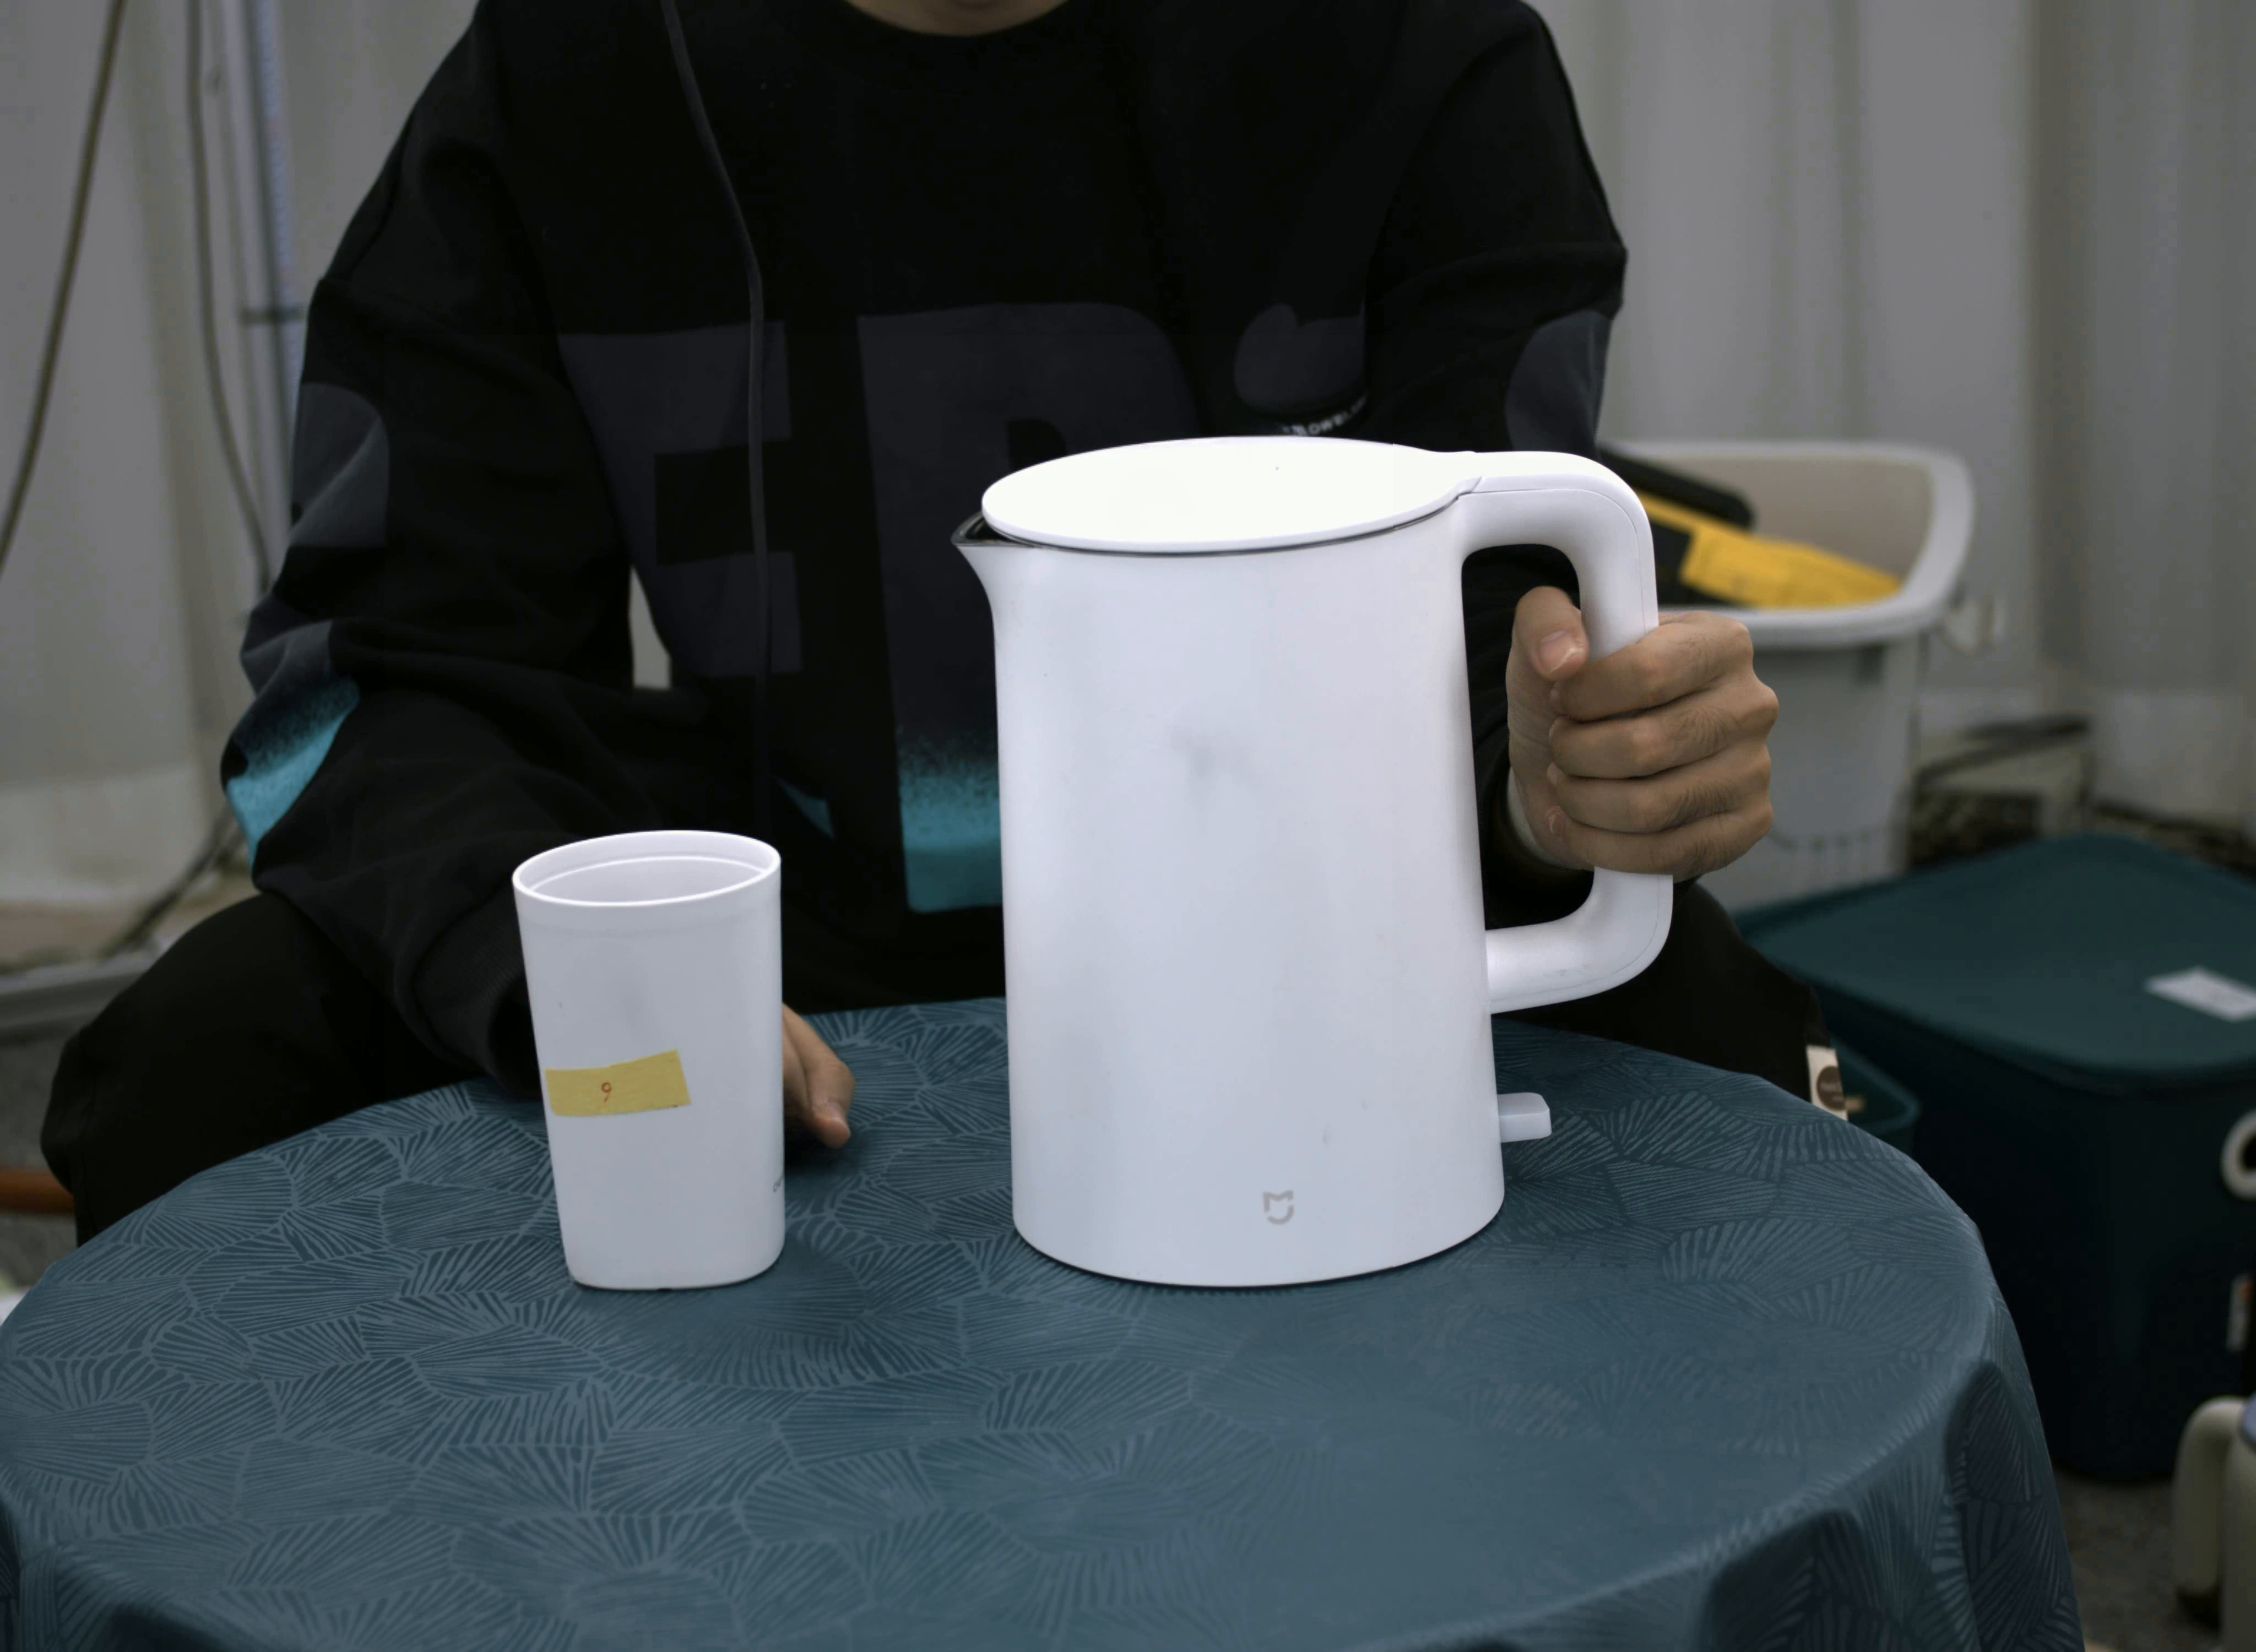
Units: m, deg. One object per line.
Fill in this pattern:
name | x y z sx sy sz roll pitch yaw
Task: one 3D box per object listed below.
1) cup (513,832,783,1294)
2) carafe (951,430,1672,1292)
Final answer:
cup | -0.141 0.073 1.661 0.081 0.125 0.082 -3 13 0
carafe | 0.059 0.005 1.664 0.212 0.239 0.153 -5 15 -5
